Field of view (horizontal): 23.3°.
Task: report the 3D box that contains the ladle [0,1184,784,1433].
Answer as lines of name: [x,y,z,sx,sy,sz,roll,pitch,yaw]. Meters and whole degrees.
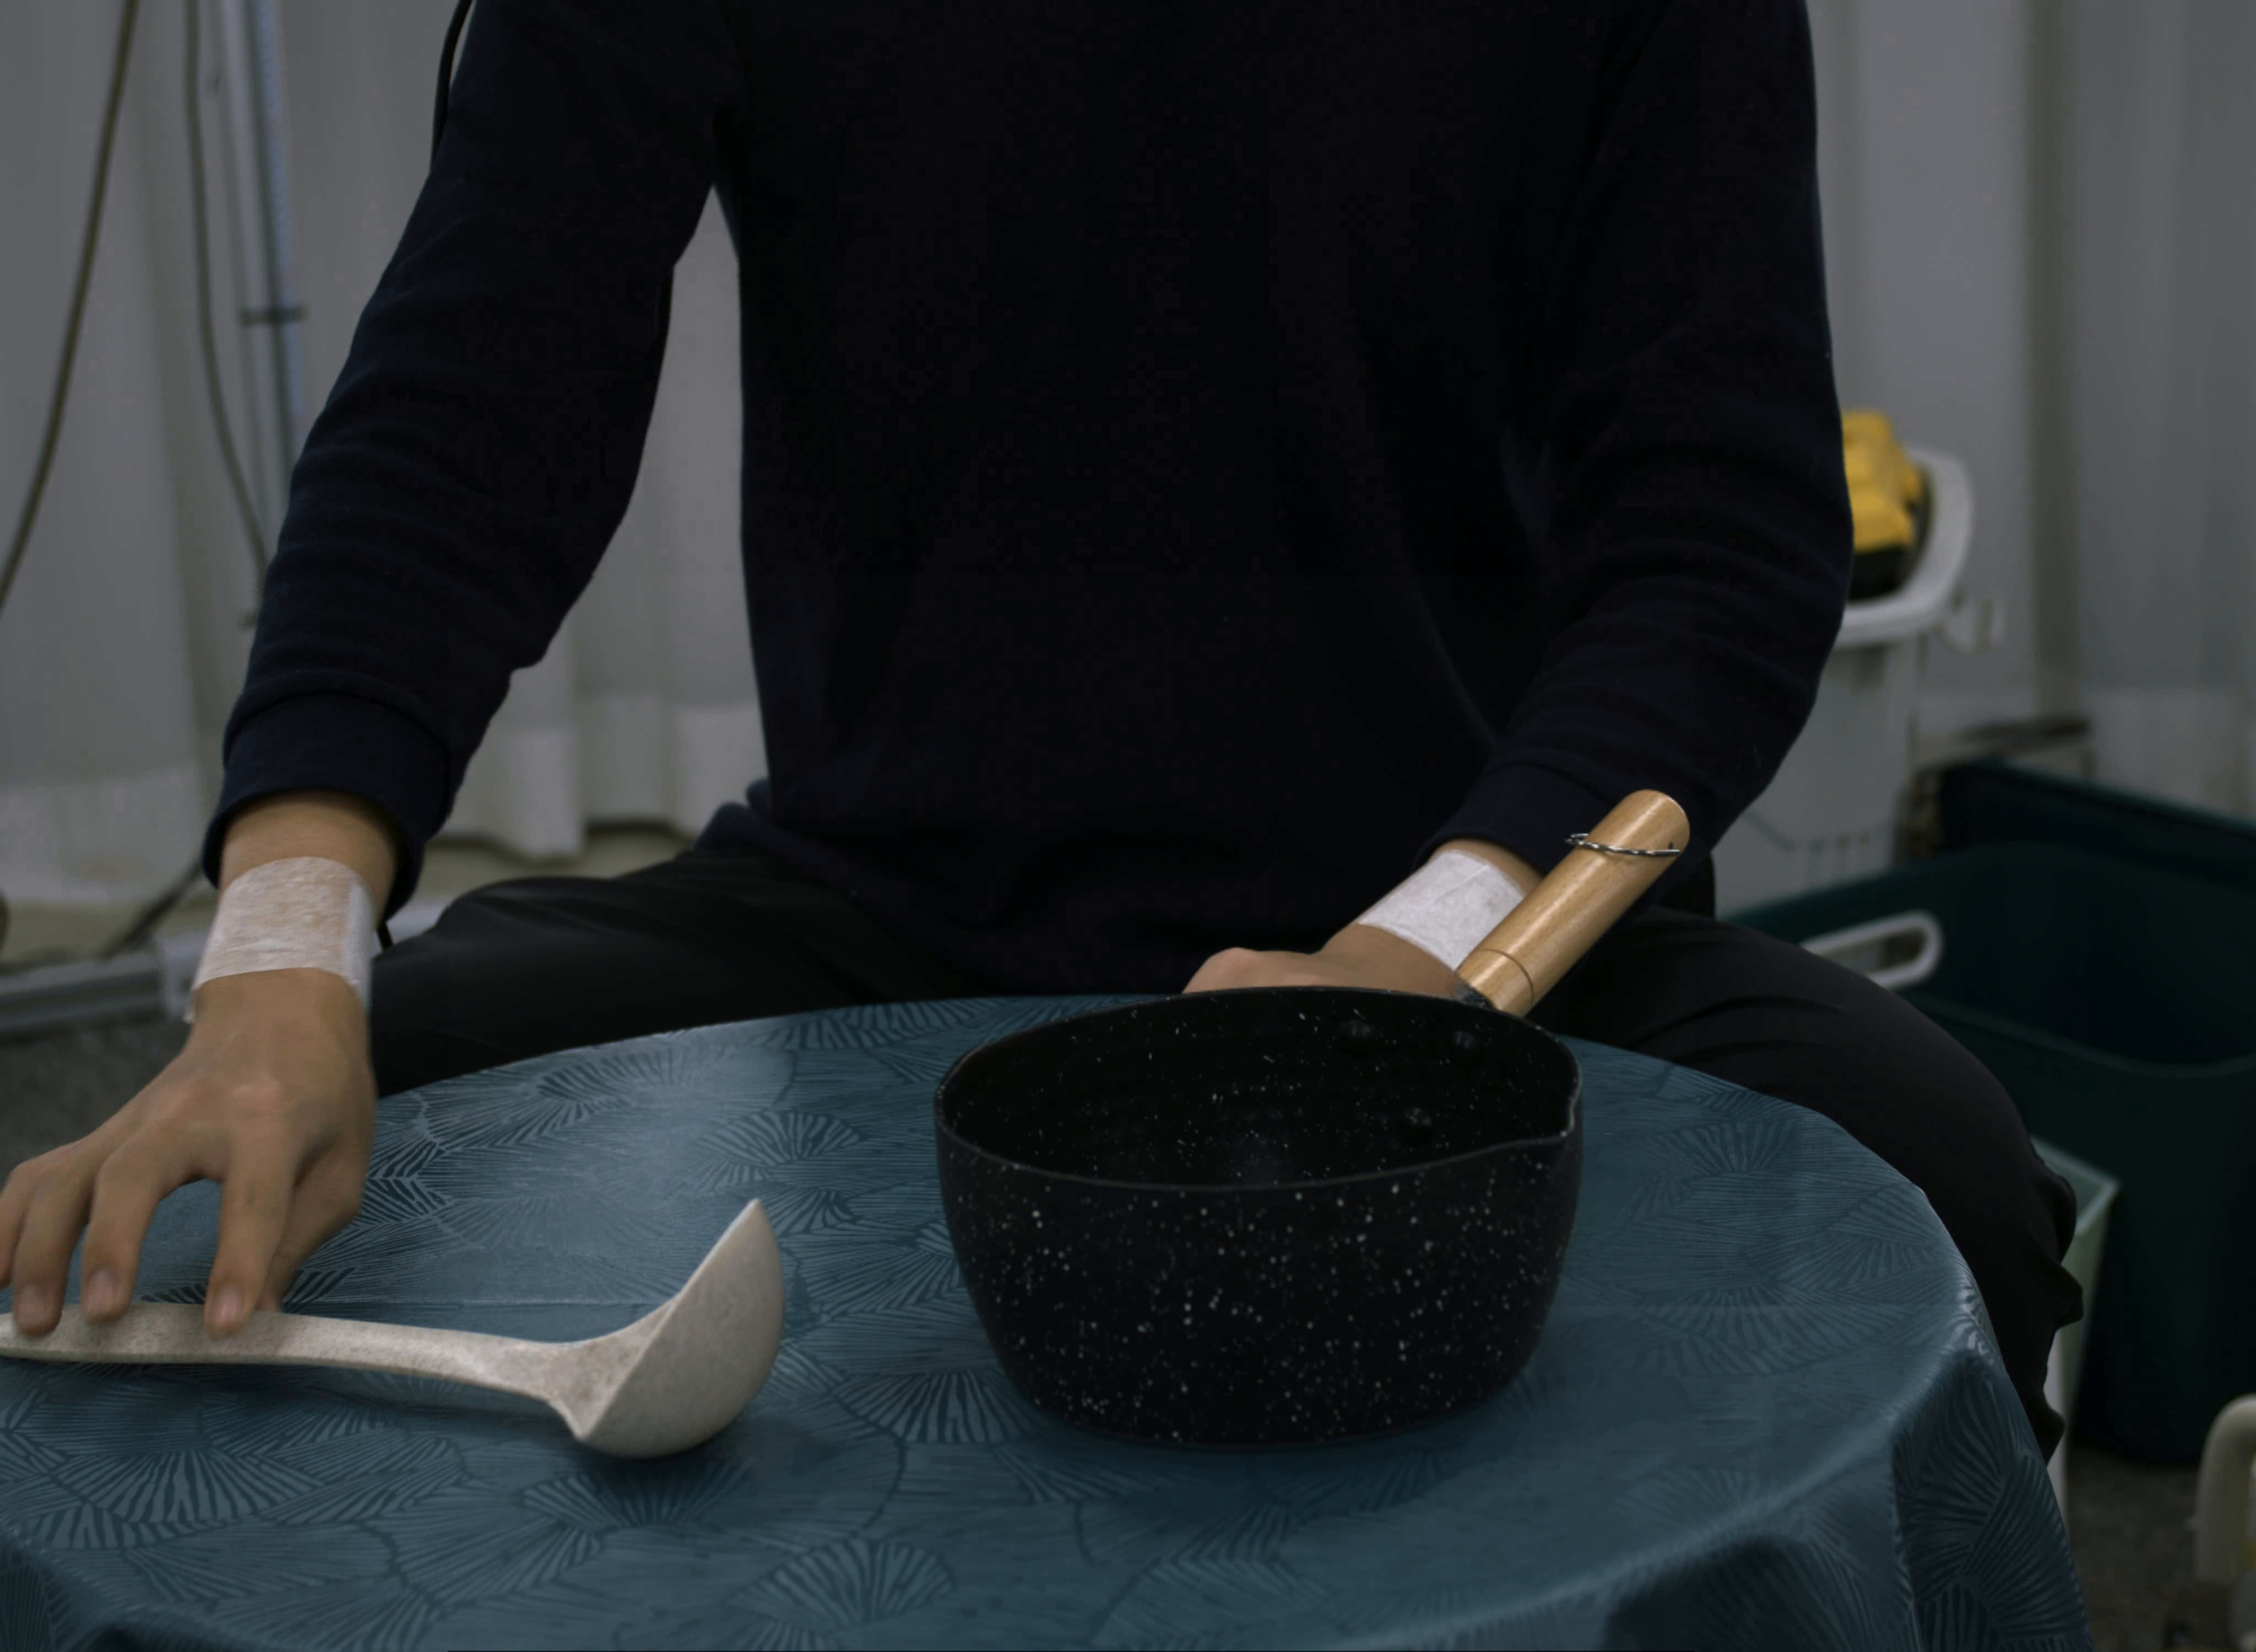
ladle: [-0.224,0.130,1.564,0.275,0.069,0.090,2,20,26]

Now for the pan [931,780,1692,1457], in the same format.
pan: [0.079,0.081,1.617,0.208,0.108,0.343,5,18,32]
